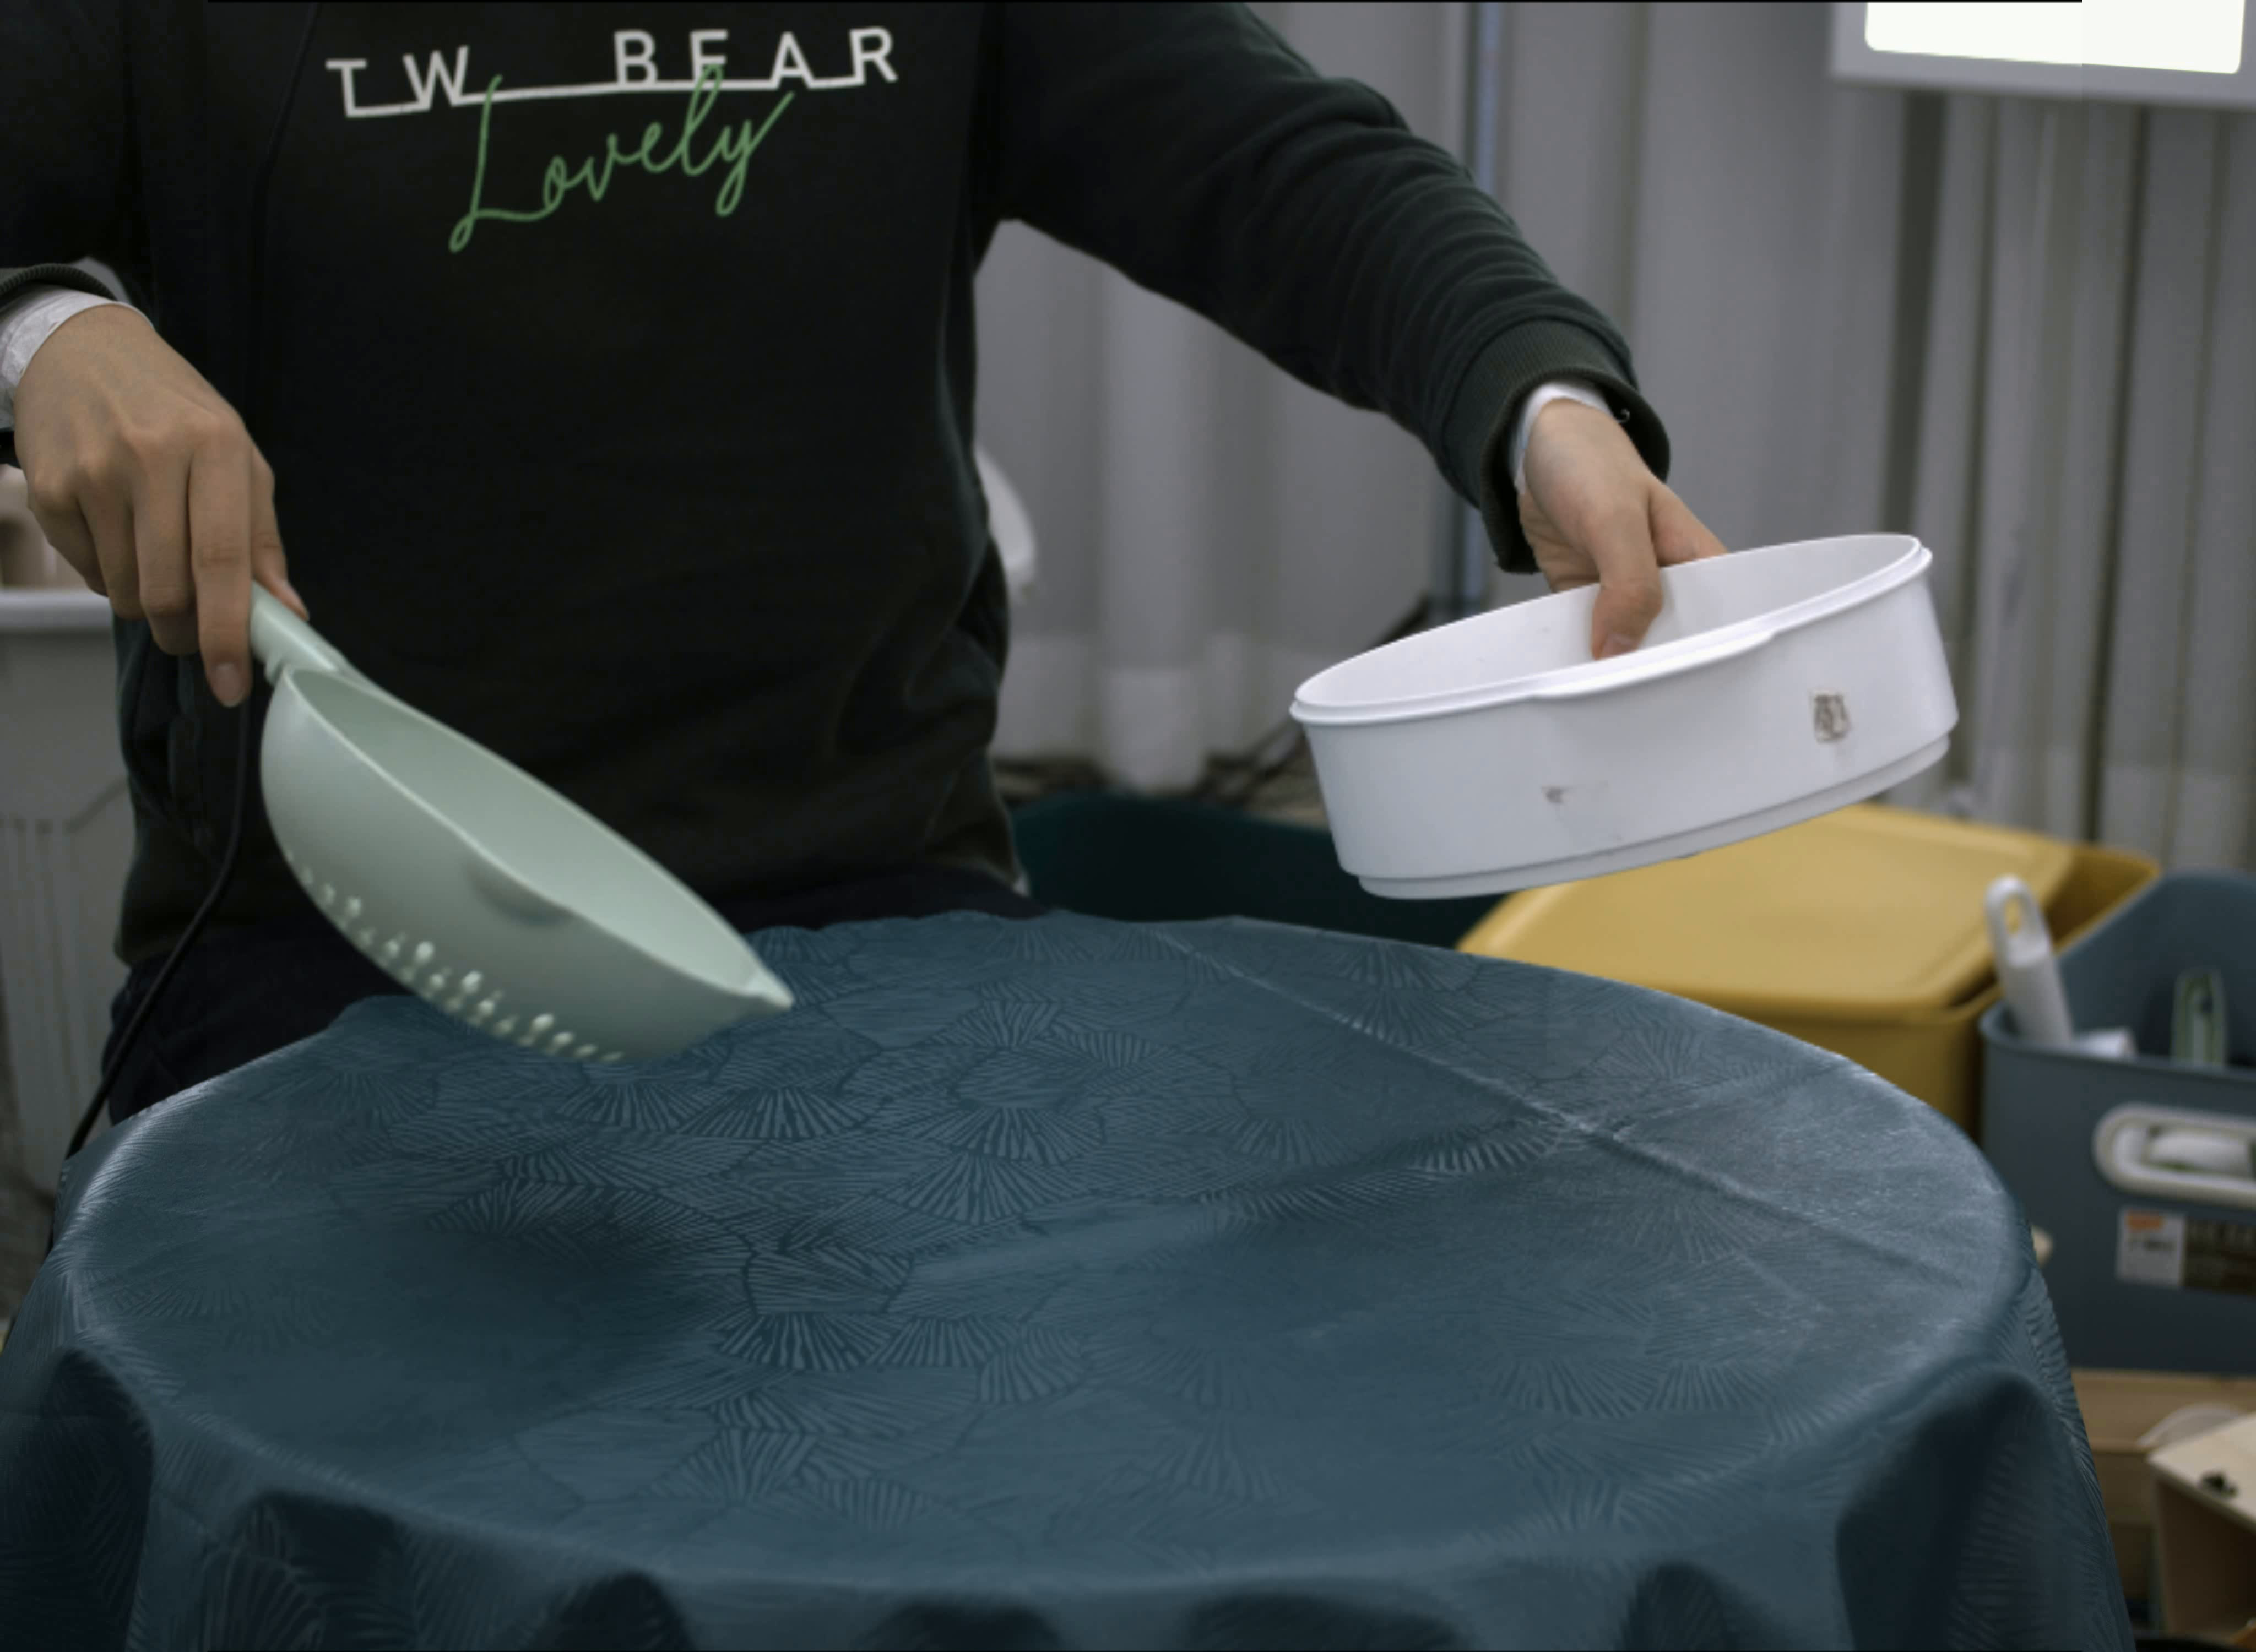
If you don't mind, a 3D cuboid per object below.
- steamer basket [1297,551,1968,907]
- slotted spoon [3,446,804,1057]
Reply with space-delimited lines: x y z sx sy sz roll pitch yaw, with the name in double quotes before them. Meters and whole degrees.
"steamer basket" 0.155 -0.029 1.602 0.201 0.069 0.229 -13 8 -2
"slotted spoon" -0.240 -0.038 1.589 0.354 0.075 0.171 47 11 35
